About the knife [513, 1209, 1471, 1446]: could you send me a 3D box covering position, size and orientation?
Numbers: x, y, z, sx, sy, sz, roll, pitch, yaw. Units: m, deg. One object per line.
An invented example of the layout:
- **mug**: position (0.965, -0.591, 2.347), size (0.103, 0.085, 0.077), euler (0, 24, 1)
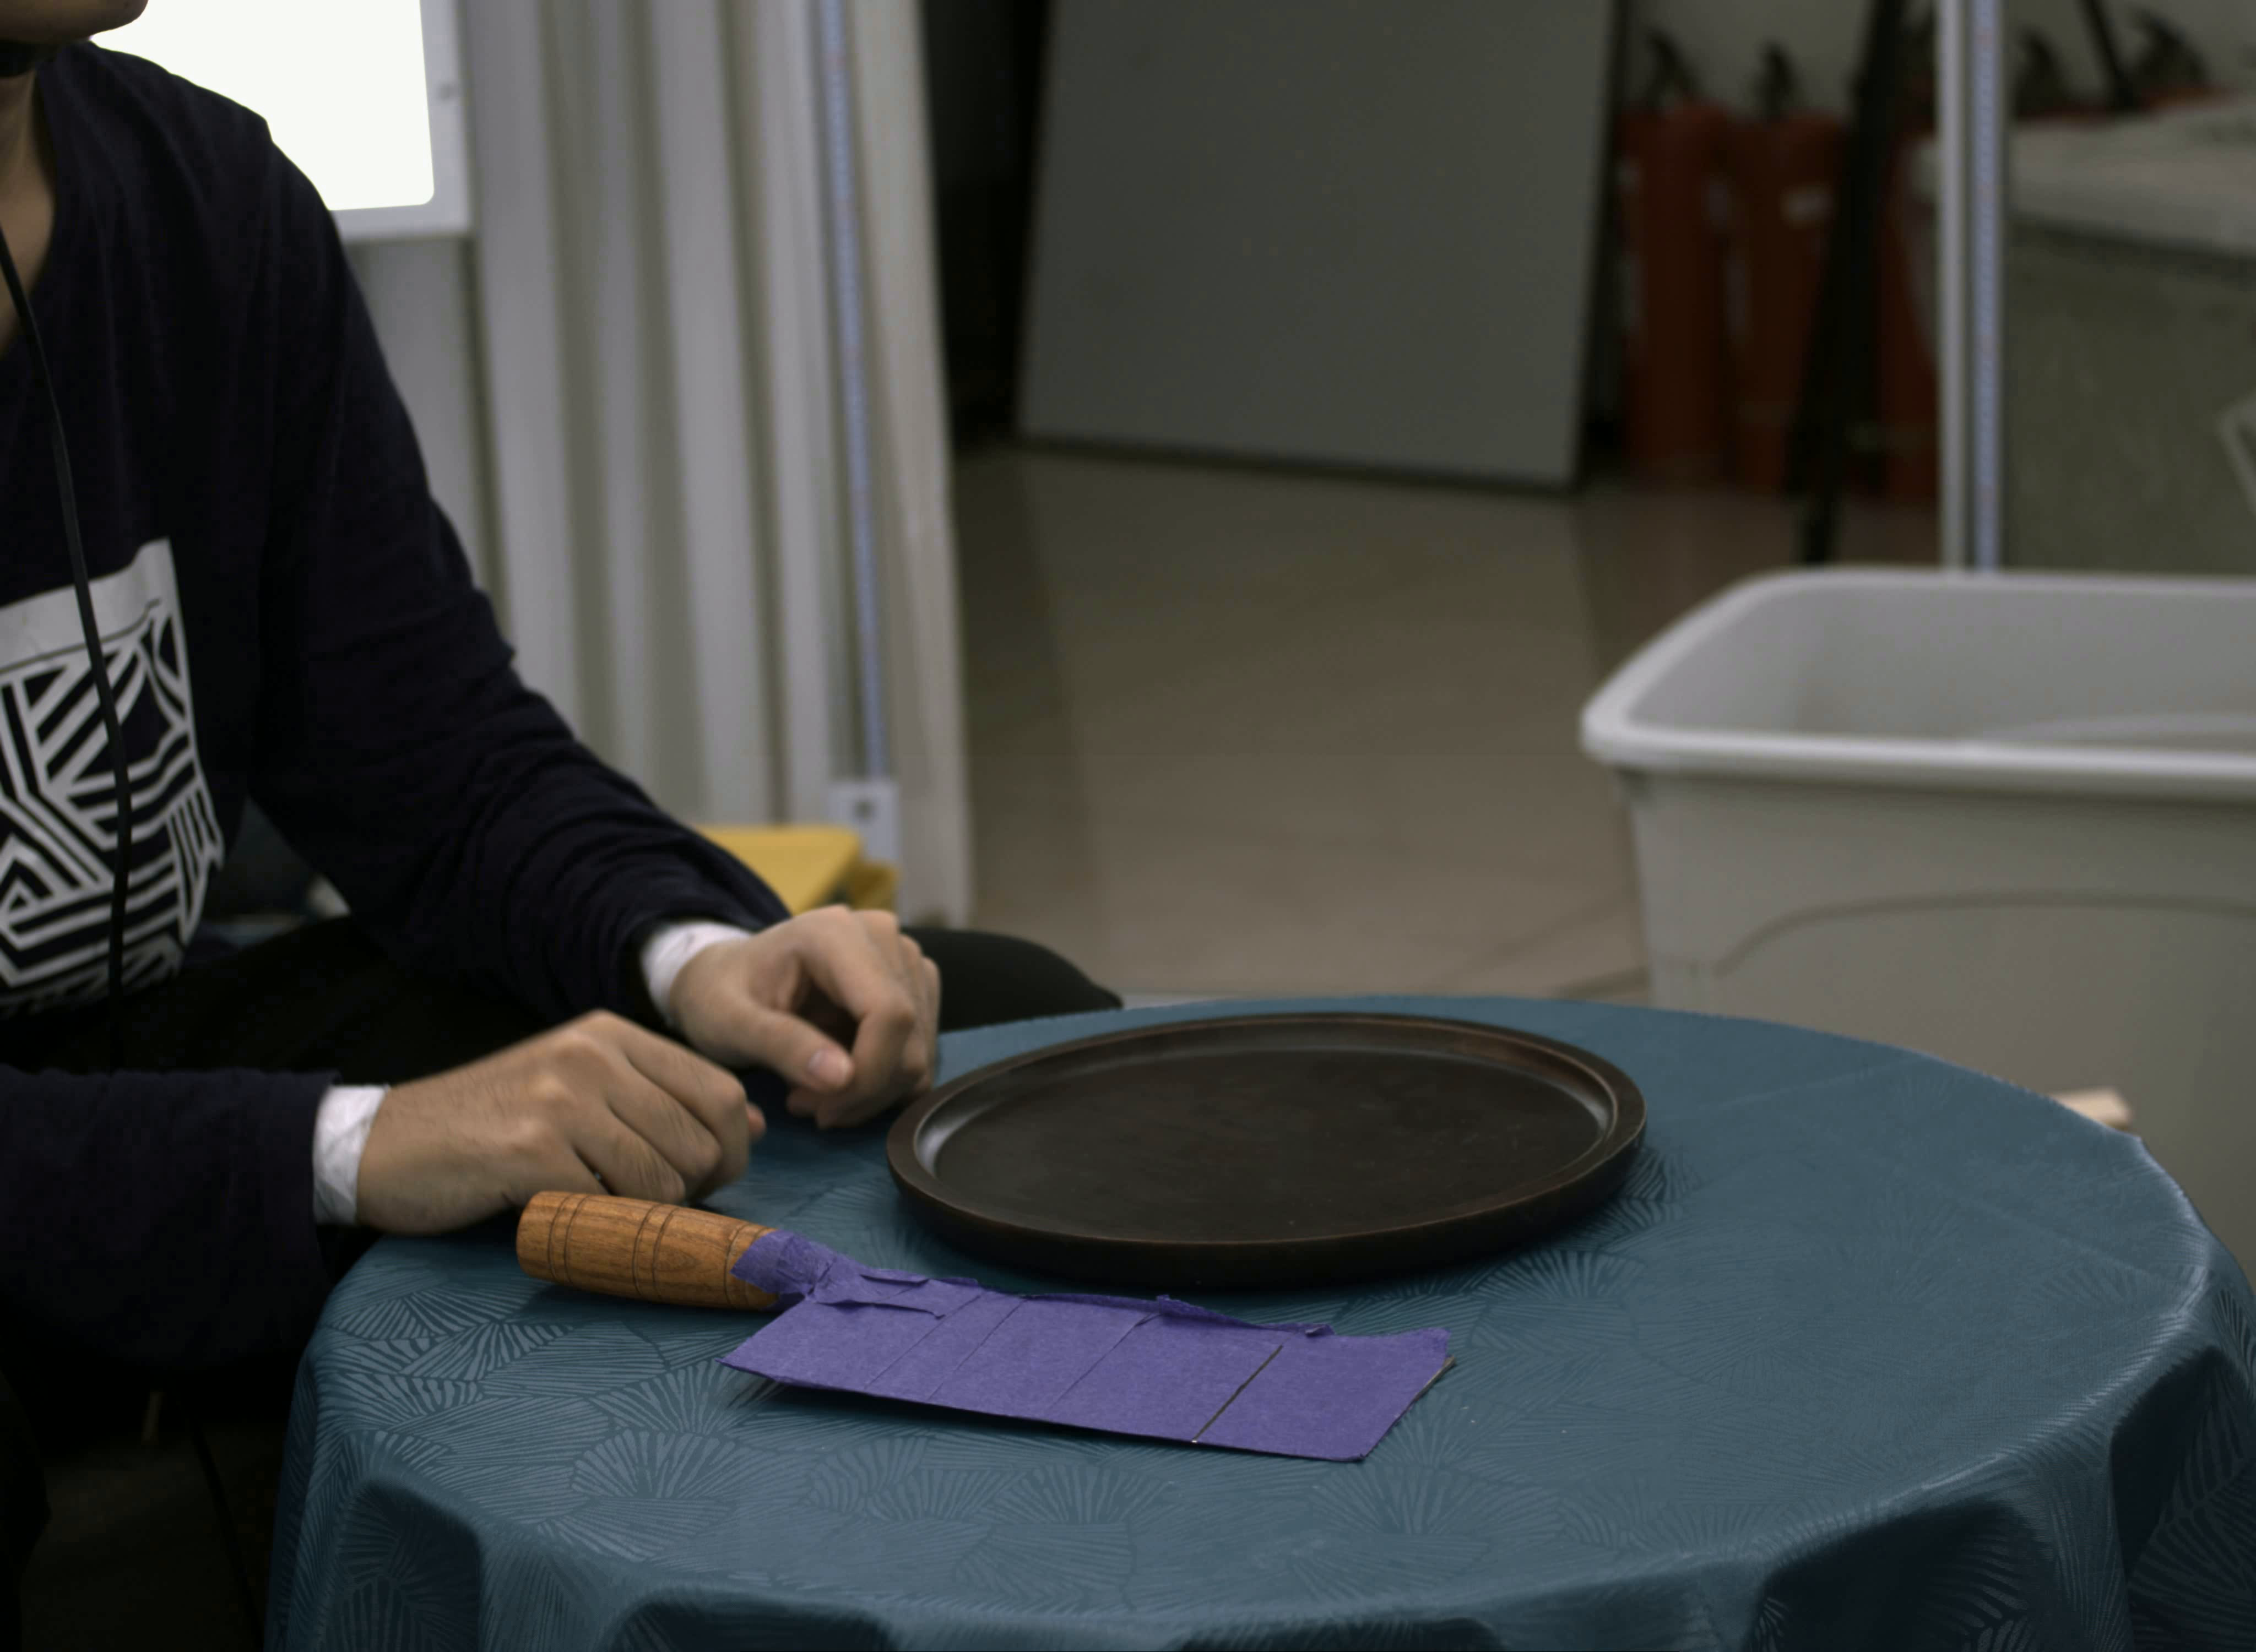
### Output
- **knife**: position (-0.057, 0.150, 1.616), size (0.315, 0.032, 0.102), euler (3, 15, 24)

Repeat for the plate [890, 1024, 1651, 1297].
- **plate**: position (0.047, 0.107, 1.770), size (0.251, 0.029, 0.255), euler (-3, 14, 0)
